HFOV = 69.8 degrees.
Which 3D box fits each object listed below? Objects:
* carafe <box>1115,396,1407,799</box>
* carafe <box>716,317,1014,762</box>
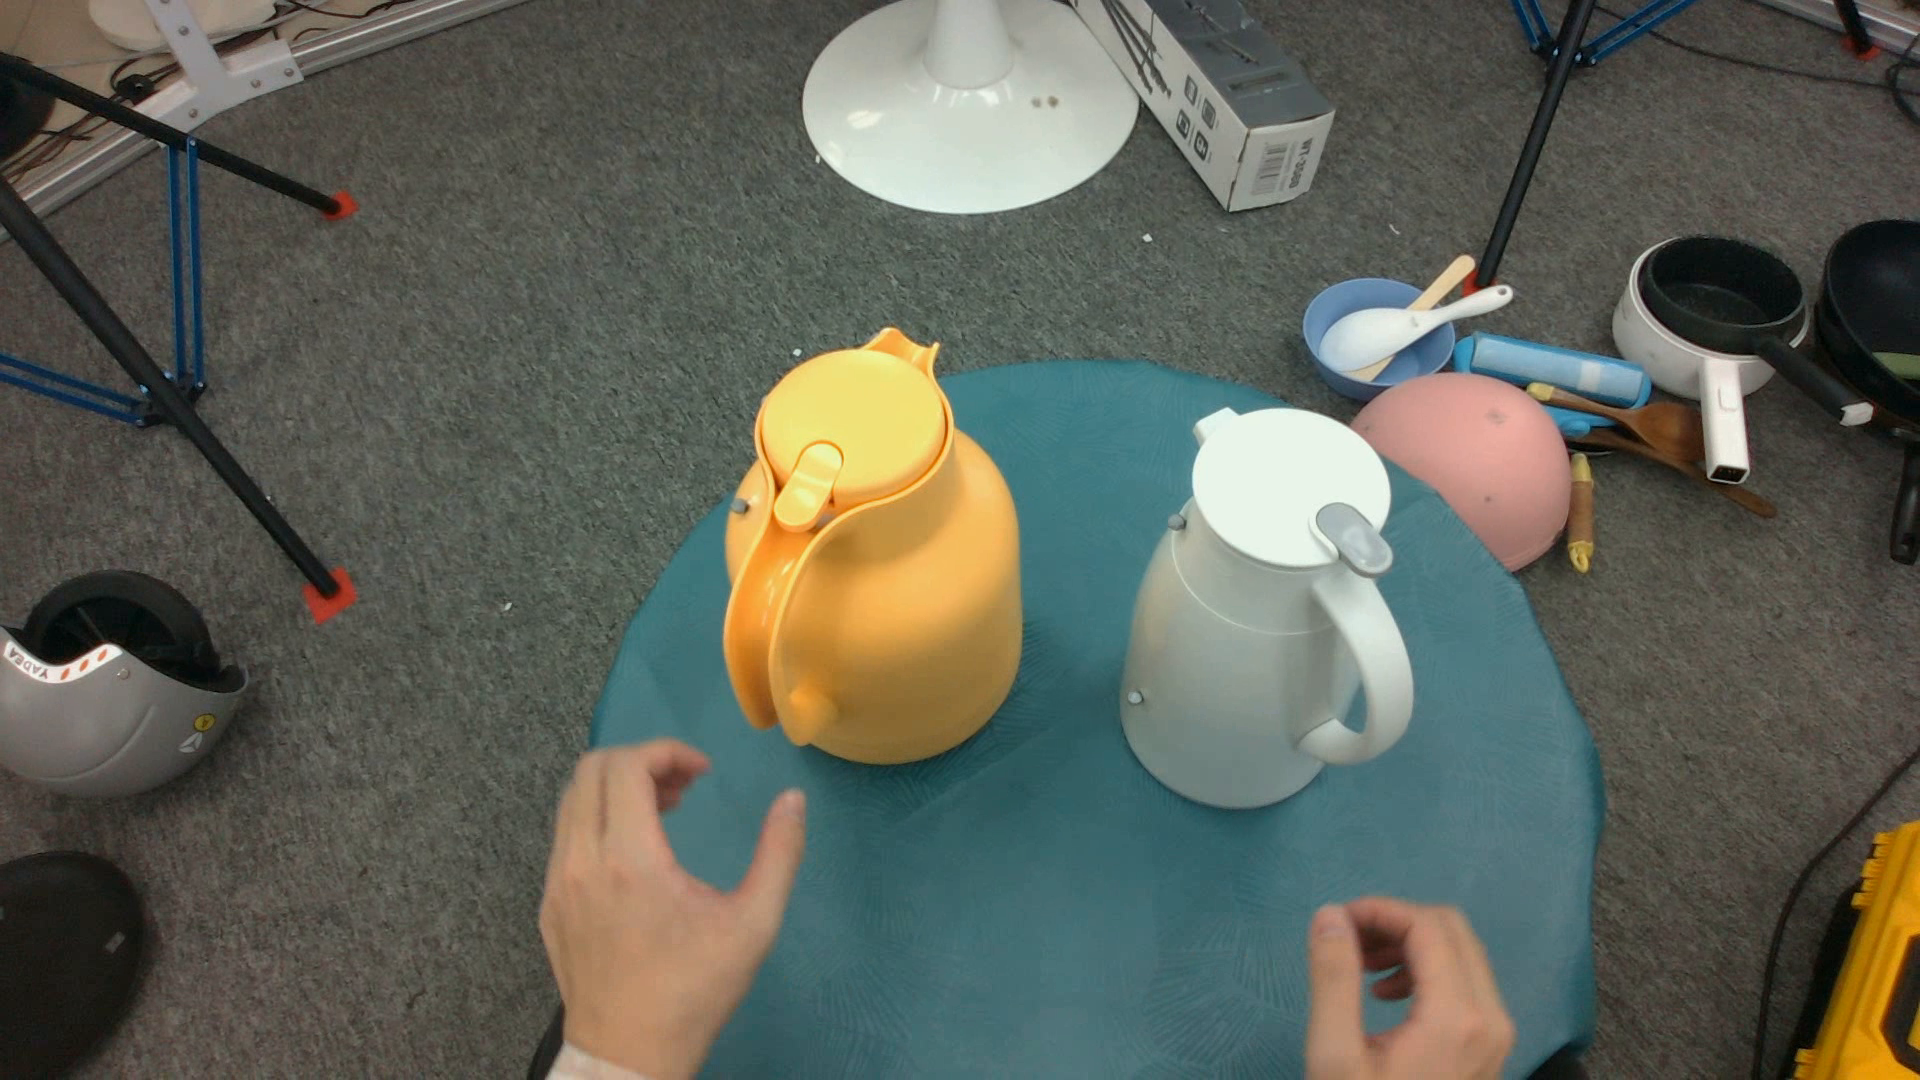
[{"bbox_3d":[0.167,0.044,0.733,0.133,0.247,0.168,-27,60,-15],"label":"carafe"},{"bbox_3d":[-0.061,0.018,0.751,0.163,0.259,0.203,21,58,17],"label":"carafe"}]
